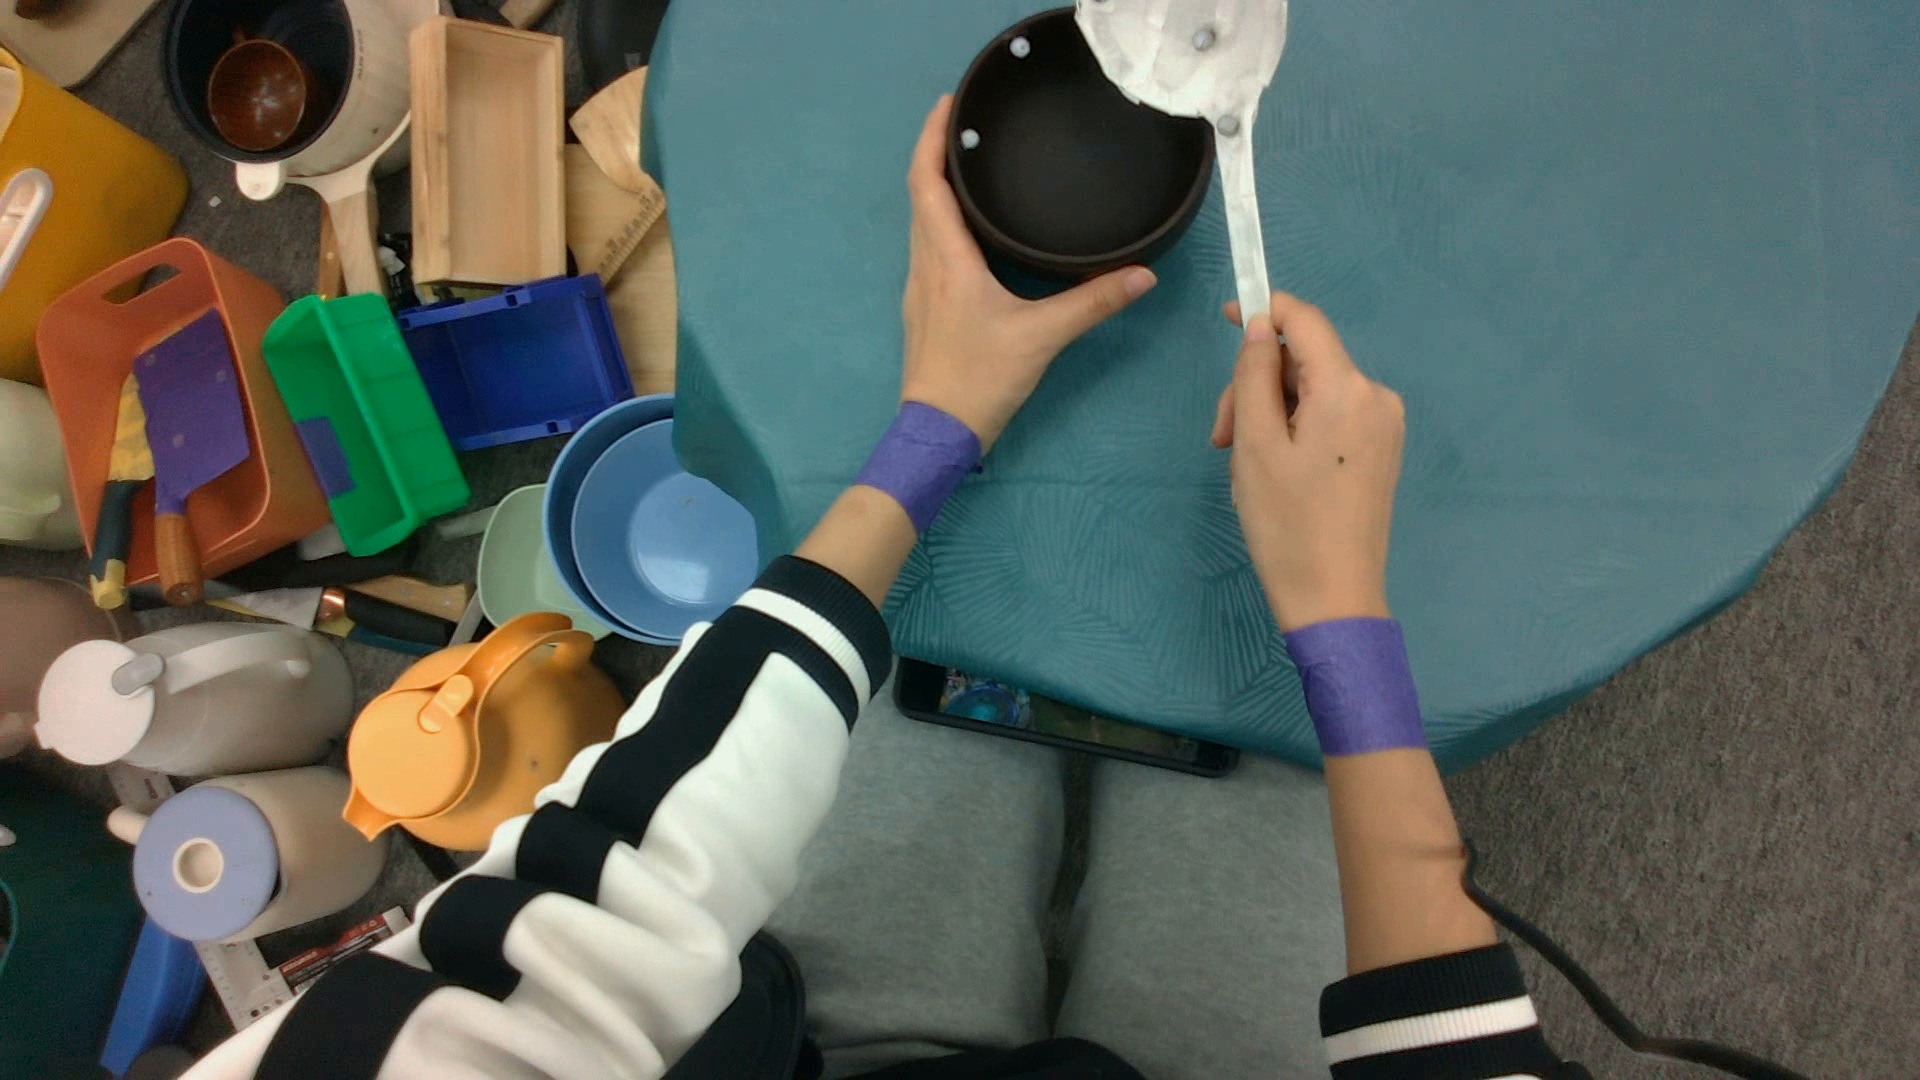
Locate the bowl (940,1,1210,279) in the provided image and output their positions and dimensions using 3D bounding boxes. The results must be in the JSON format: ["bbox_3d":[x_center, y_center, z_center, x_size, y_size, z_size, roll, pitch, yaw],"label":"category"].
[{"bbox_3d":[0.052,-0.174,0.624,0.118,0.070,0.118,-1,84,5],"label":"bowl"}]

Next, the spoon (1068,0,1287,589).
[{"bbox_3d":[0.091,-0.114,0.554,0.059,0.100,0.277,-8,94,-34],"label":"spoon"}]
